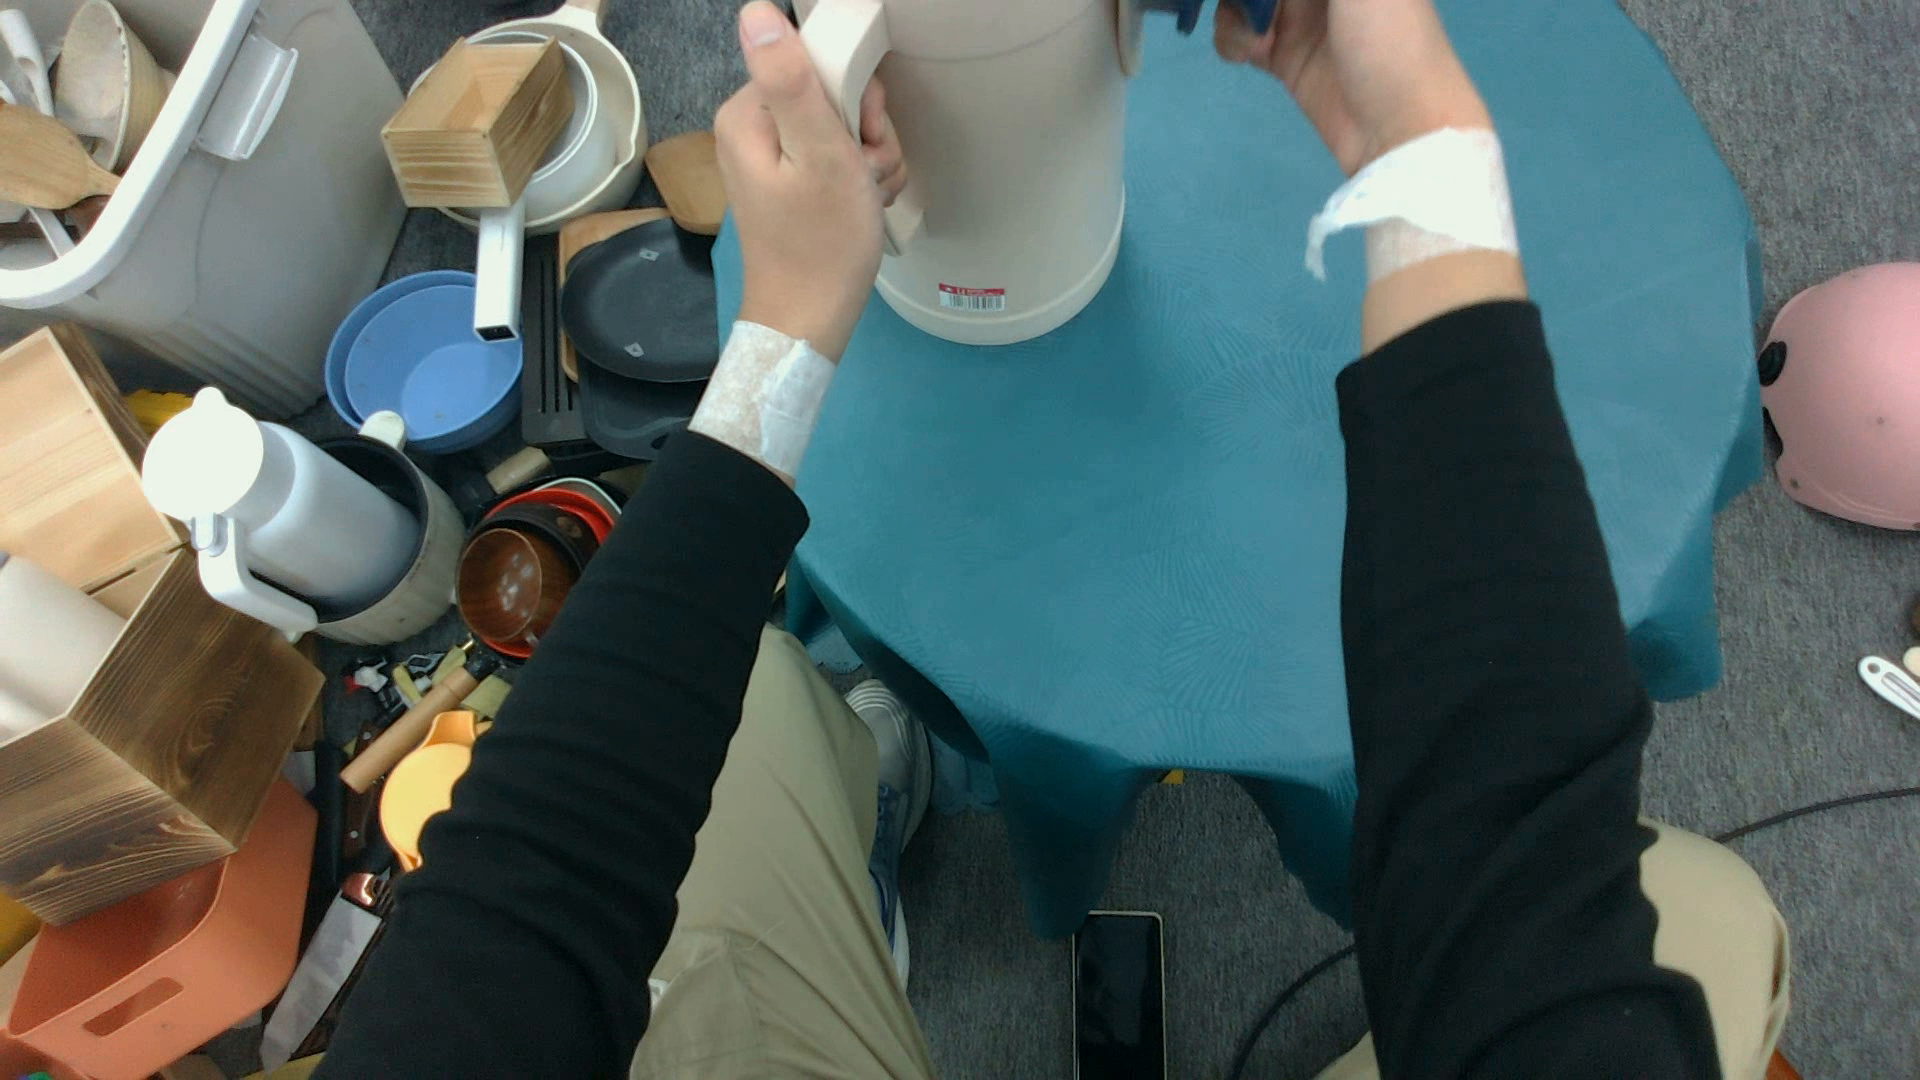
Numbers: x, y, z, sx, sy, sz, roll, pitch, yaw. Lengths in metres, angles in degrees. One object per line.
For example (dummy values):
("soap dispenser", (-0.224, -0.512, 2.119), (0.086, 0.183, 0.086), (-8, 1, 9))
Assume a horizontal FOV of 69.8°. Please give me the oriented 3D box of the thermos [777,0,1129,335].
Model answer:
("thermos", (-0.012, -0.240, 0.636), (0.175, 0.405, 0.207), (25, 75, 9))
